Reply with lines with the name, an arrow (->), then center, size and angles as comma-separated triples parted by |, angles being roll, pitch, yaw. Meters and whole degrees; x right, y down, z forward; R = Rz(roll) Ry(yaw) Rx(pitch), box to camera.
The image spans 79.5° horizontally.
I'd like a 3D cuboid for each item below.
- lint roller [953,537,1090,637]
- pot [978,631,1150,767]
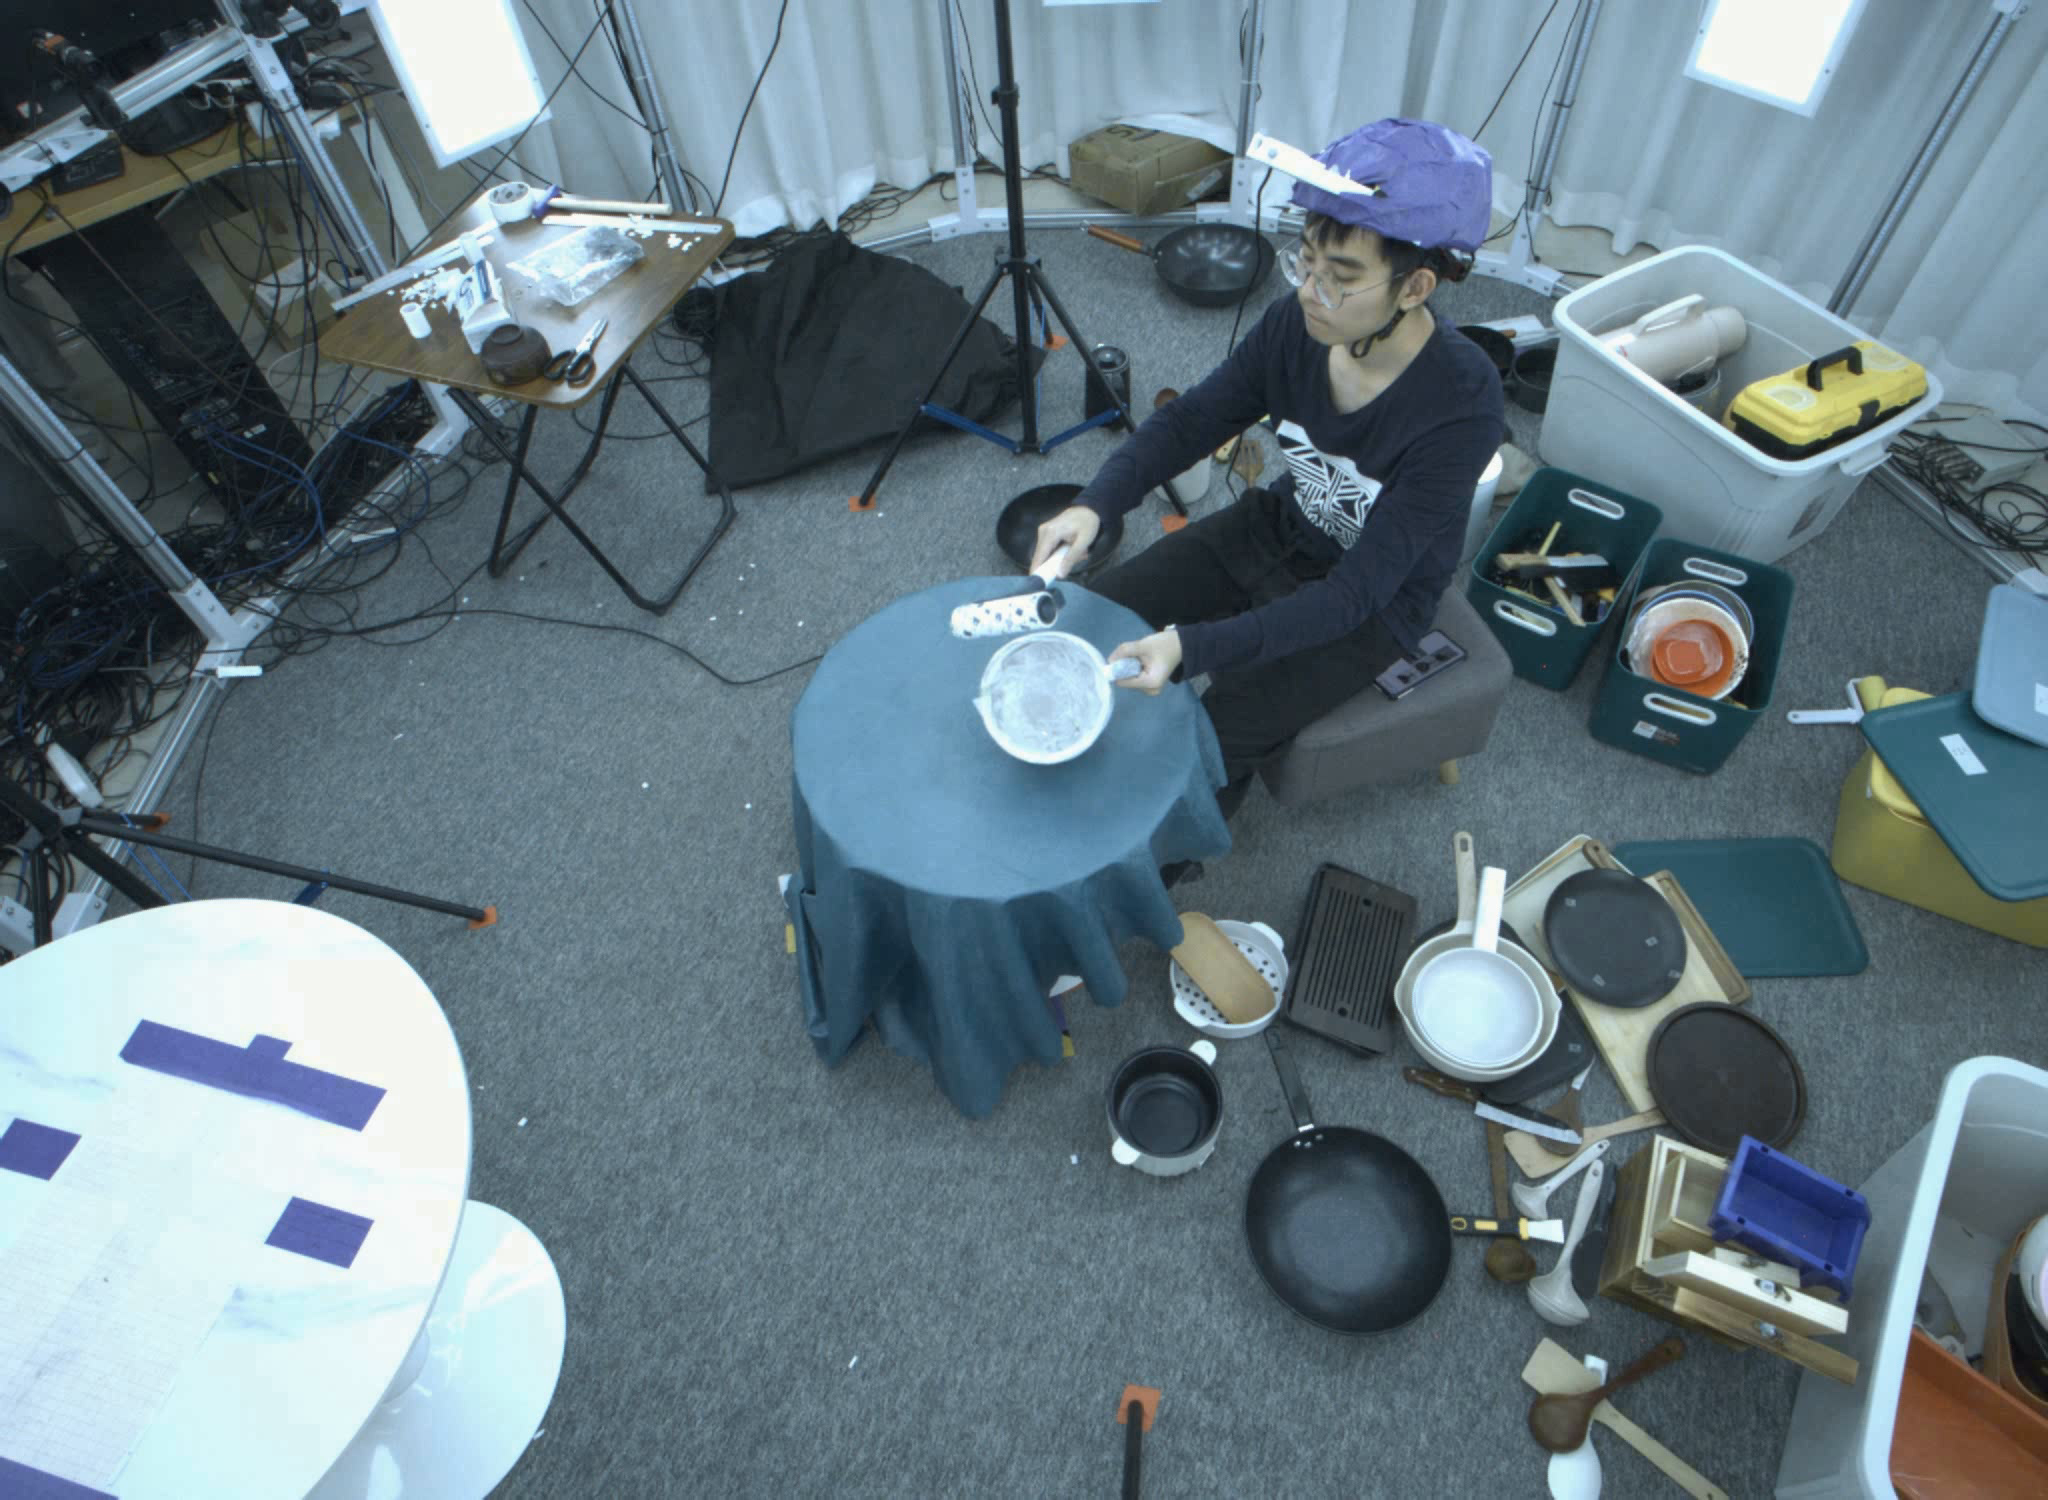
lint roller -> 0.024, -0.248, 1.762 | 0.173, 0.051, 0.248 | -5, 33, 41
pot -> 0.060, -0.085, 1.710 | 0.232, 0.137, 0.179 | -21, 97, 10
